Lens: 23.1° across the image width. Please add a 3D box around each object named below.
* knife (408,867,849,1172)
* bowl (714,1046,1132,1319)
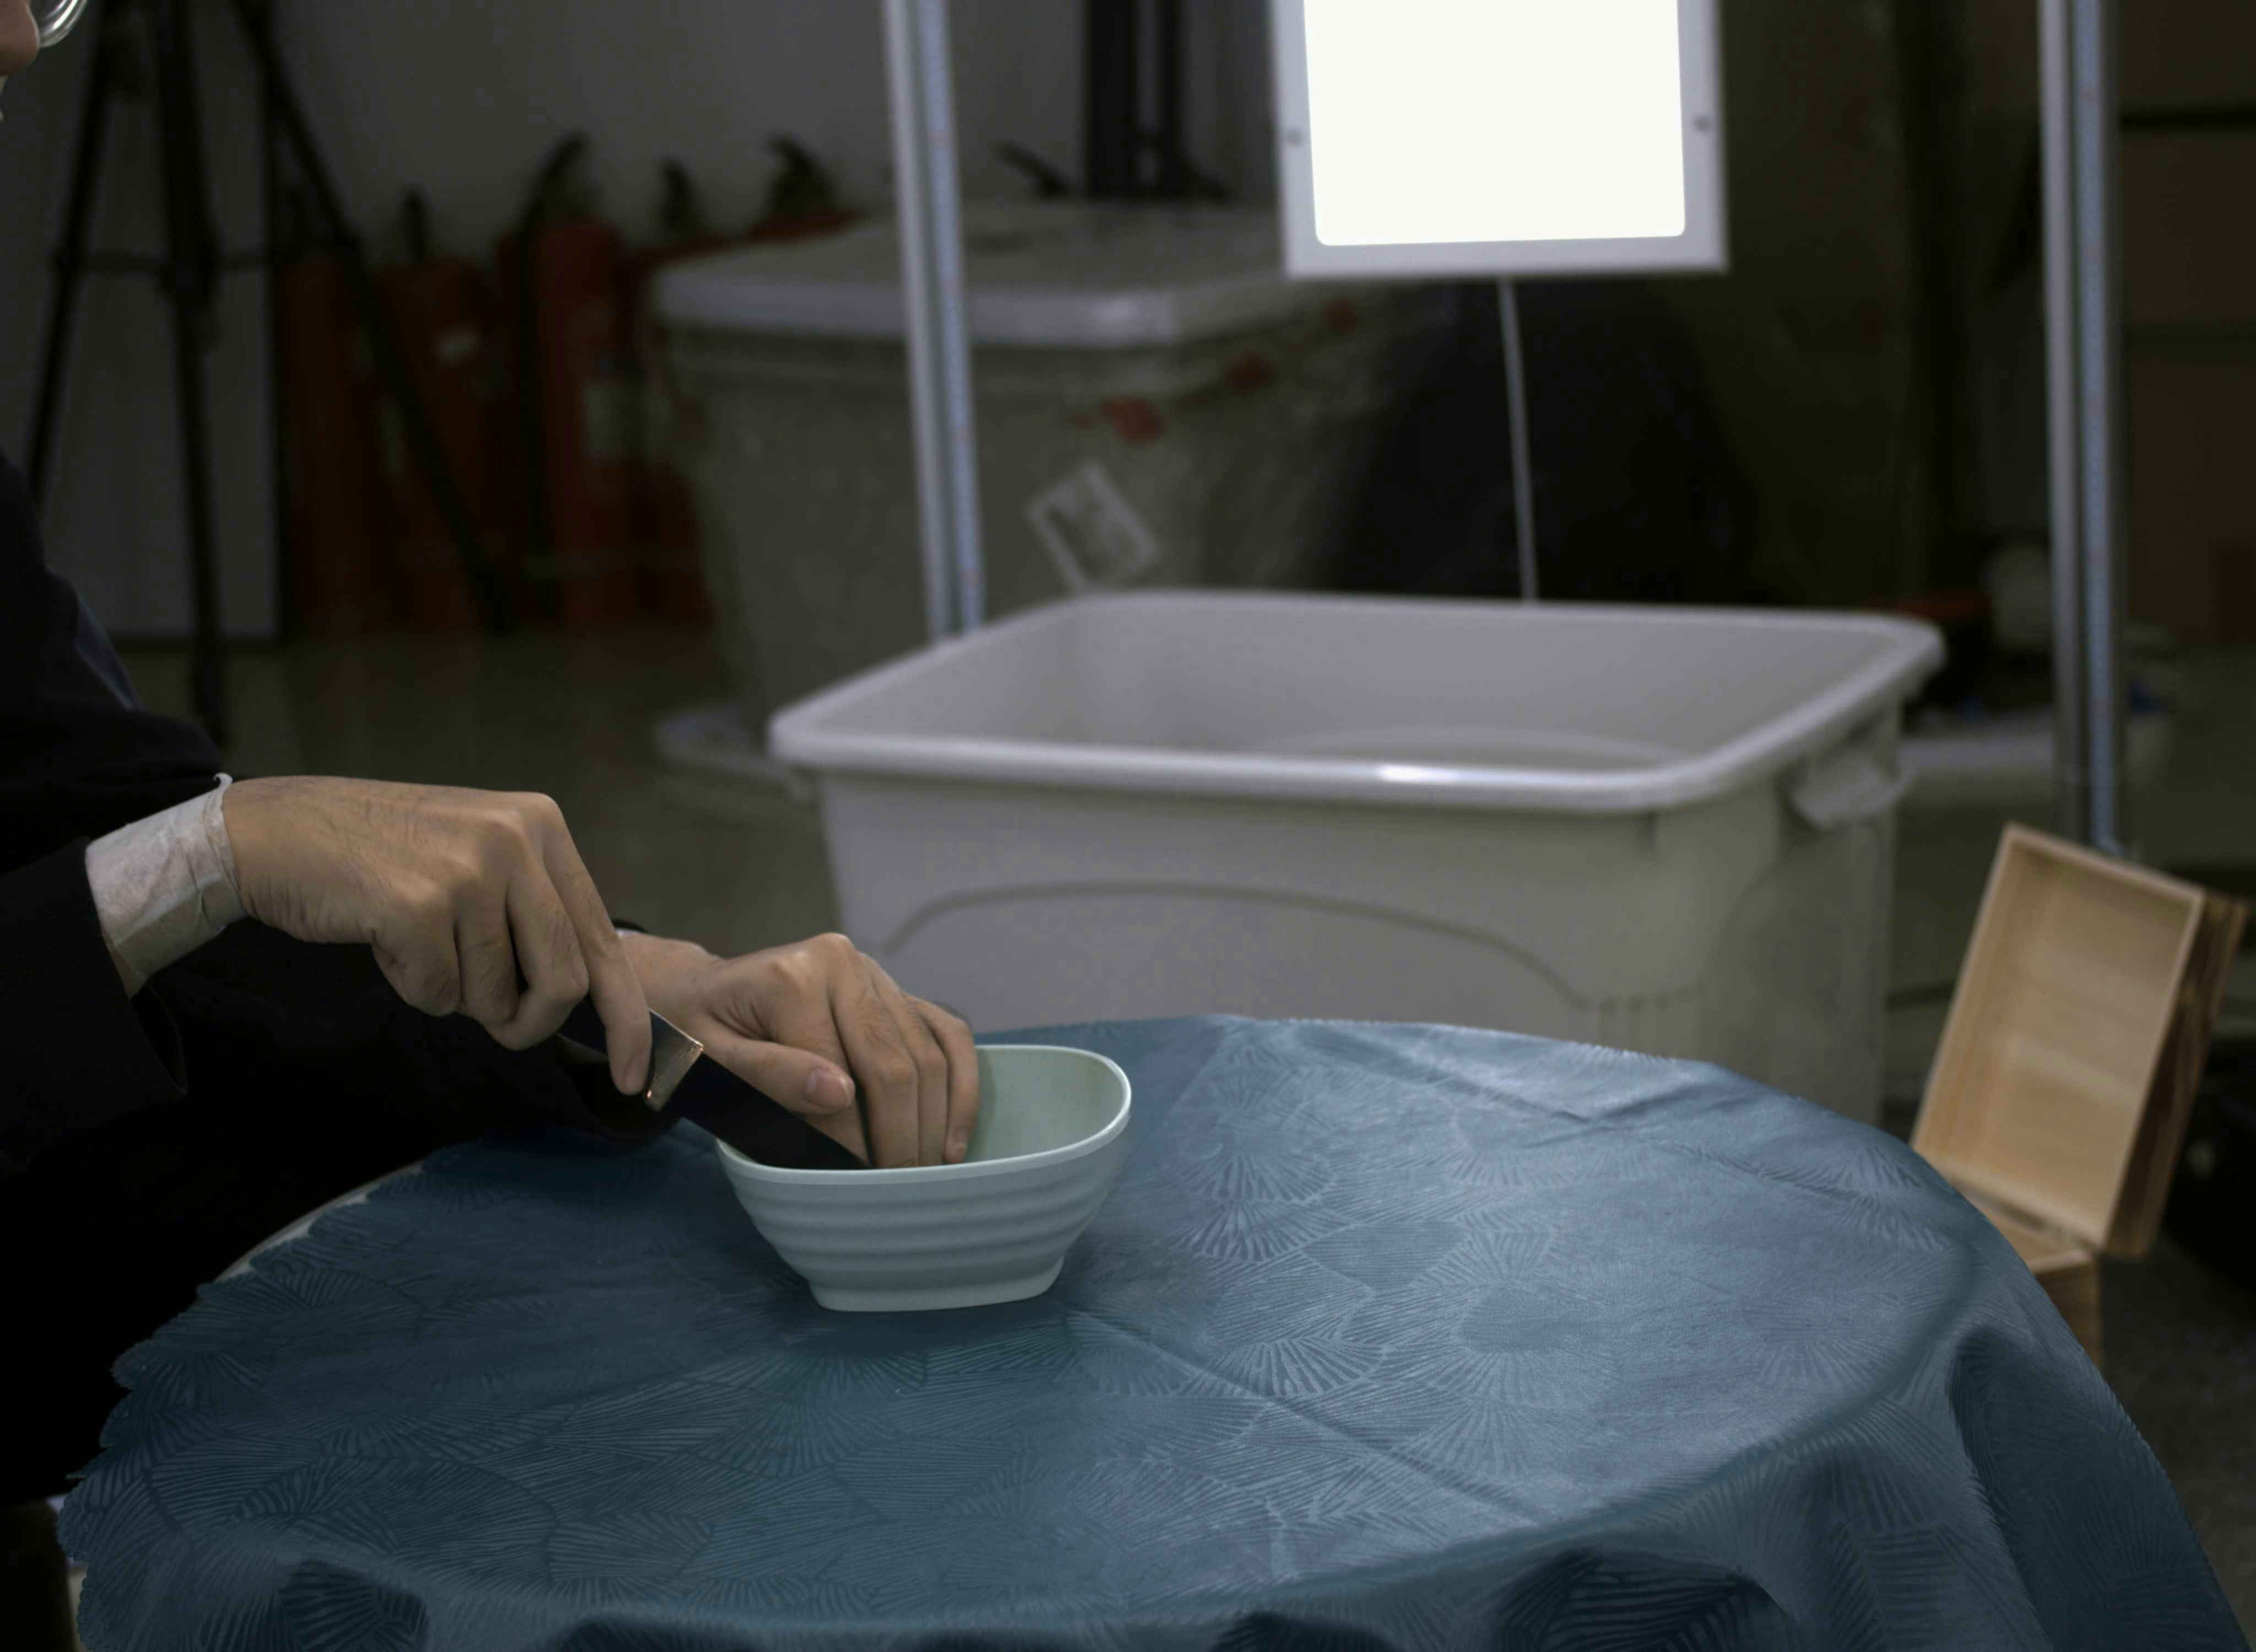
[{"bbox_3d":[-0.142,0.084,1.789,0.224,0.026,0.017,37,-3,-12],"label":"knife"},{"bbox_3d":[-0.066,0.122,1.827,0.151,0.059,0.151,-5,15,0],"label":"bowl"}]
